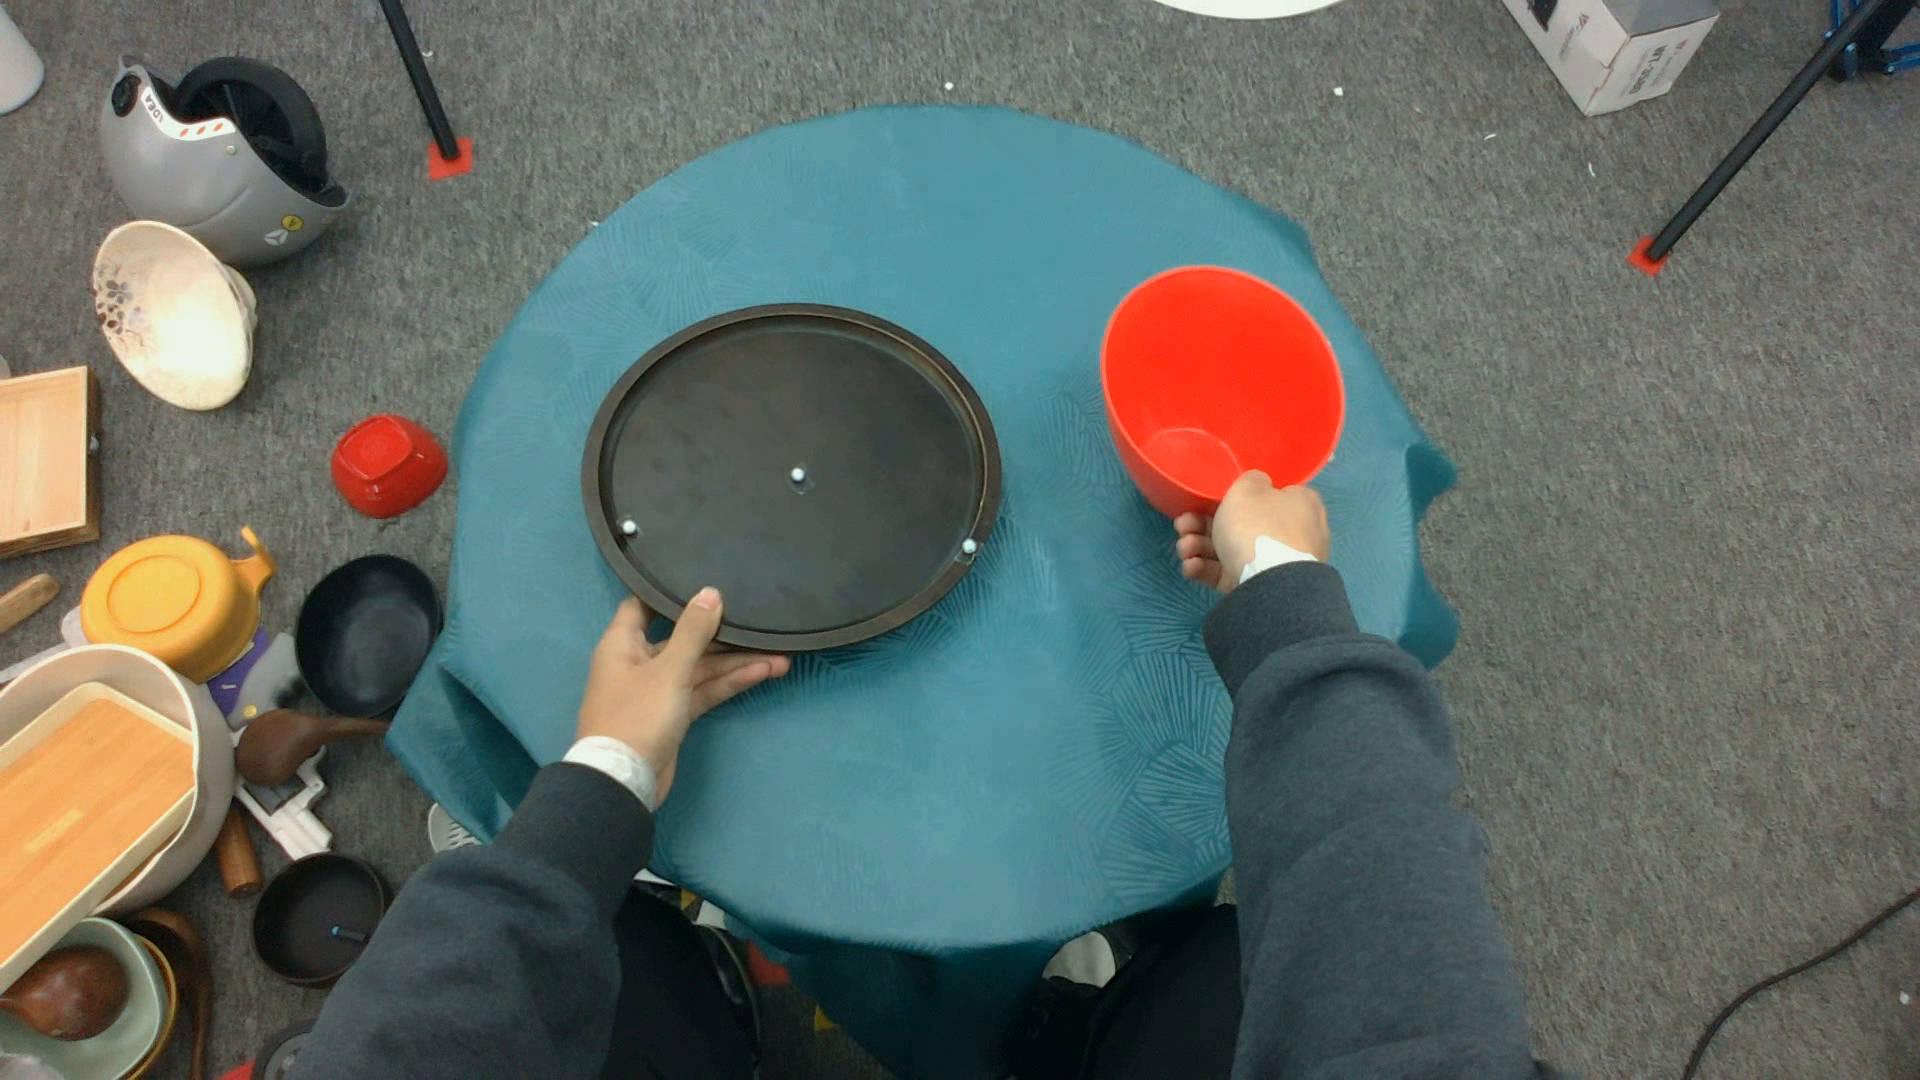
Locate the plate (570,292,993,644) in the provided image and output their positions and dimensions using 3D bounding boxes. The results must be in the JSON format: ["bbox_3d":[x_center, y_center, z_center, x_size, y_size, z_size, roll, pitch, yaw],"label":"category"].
[{"bbox_3d":[-0.107,-0.049,0.839,0.255,0.029,0.256,3,59,-5],"label":"plate"}]

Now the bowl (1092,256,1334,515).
[{"bbox_3d":[0.140,-0.079,0.824,0.148,0.104,0.148,5,60,-8],"label":"bowl"}]
